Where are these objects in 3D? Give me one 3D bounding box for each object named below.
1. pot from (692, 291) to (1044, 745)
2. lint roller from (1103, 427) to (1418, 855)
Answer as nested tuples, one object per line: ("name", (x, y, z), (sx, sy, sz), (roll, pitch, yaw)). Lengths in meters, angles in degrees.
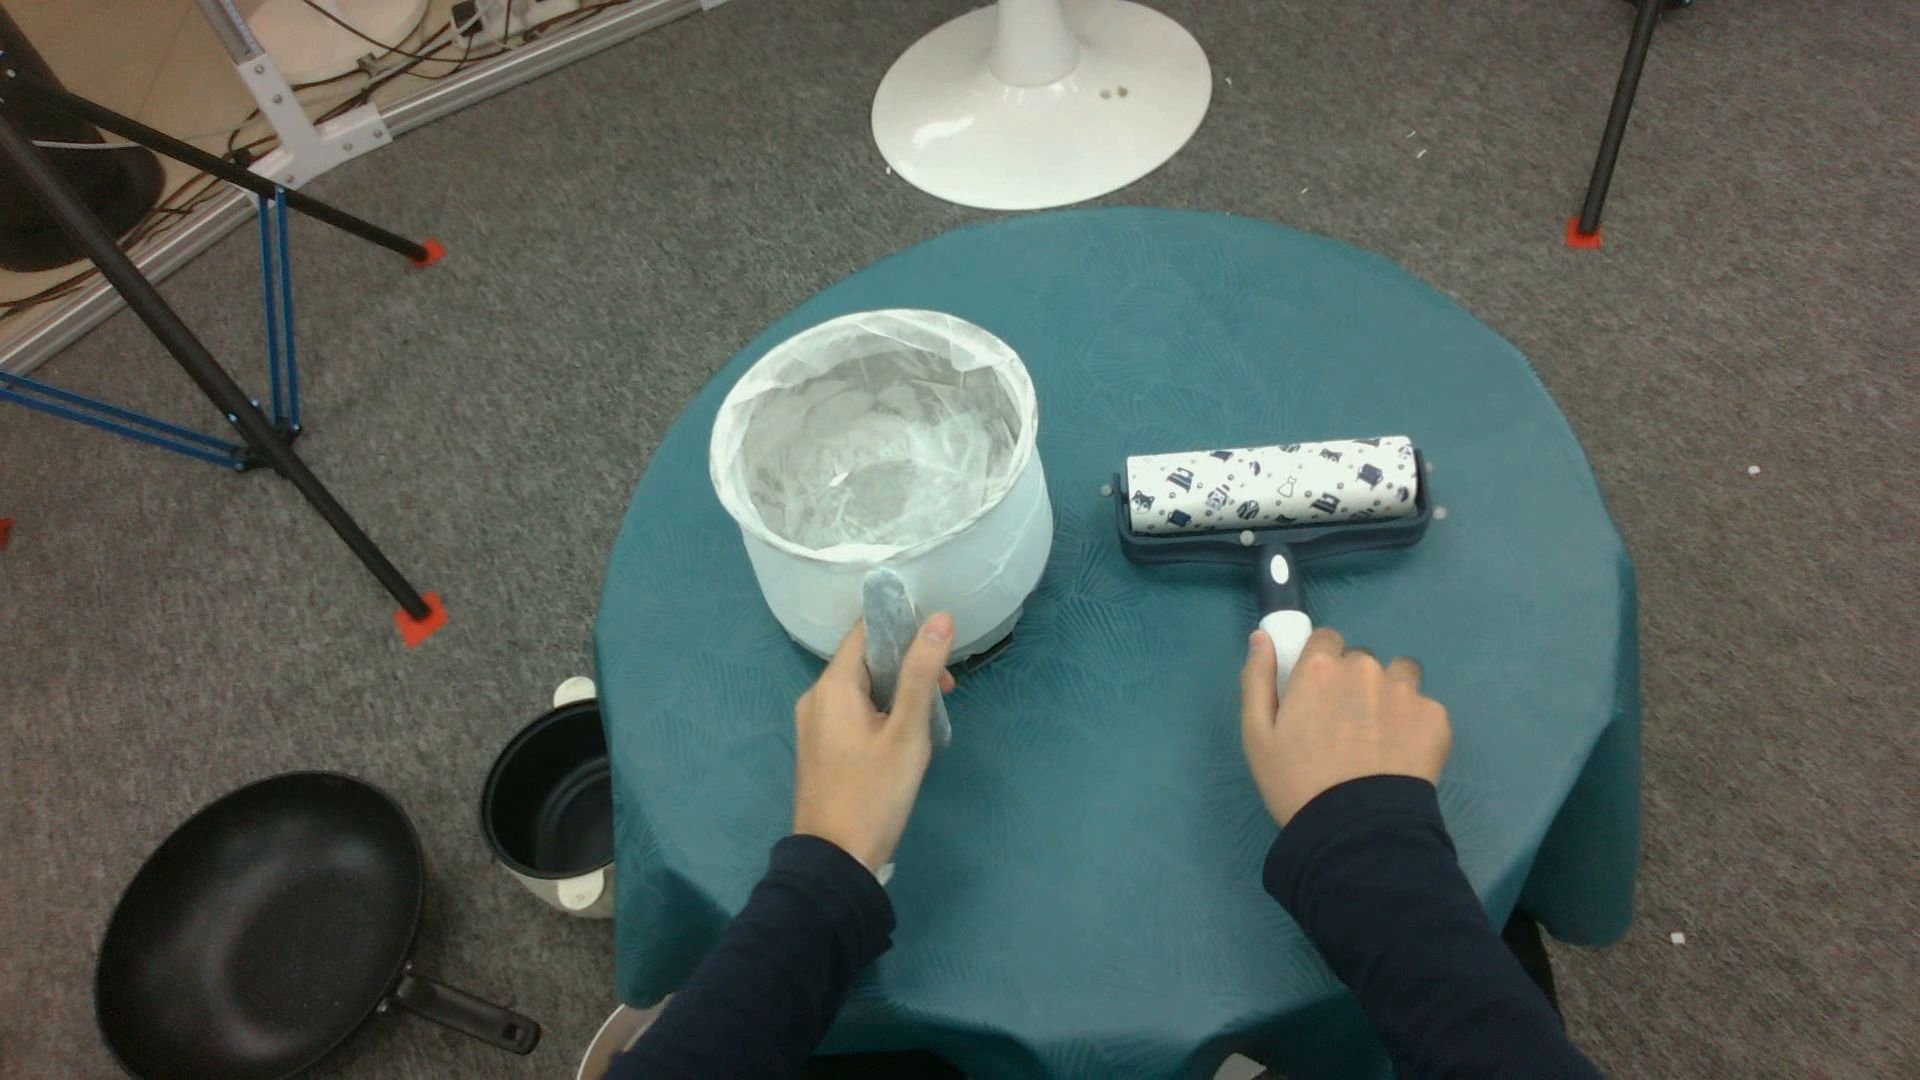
("pot", (-0.042, -0.011, 0.758), (0.178, 0.136, 0.234), (-11, 51, 4))
("lint roller", (0.174, 0.046, 0.747), (0.176, 0.050, 0.248), (-4, 57, 5))
